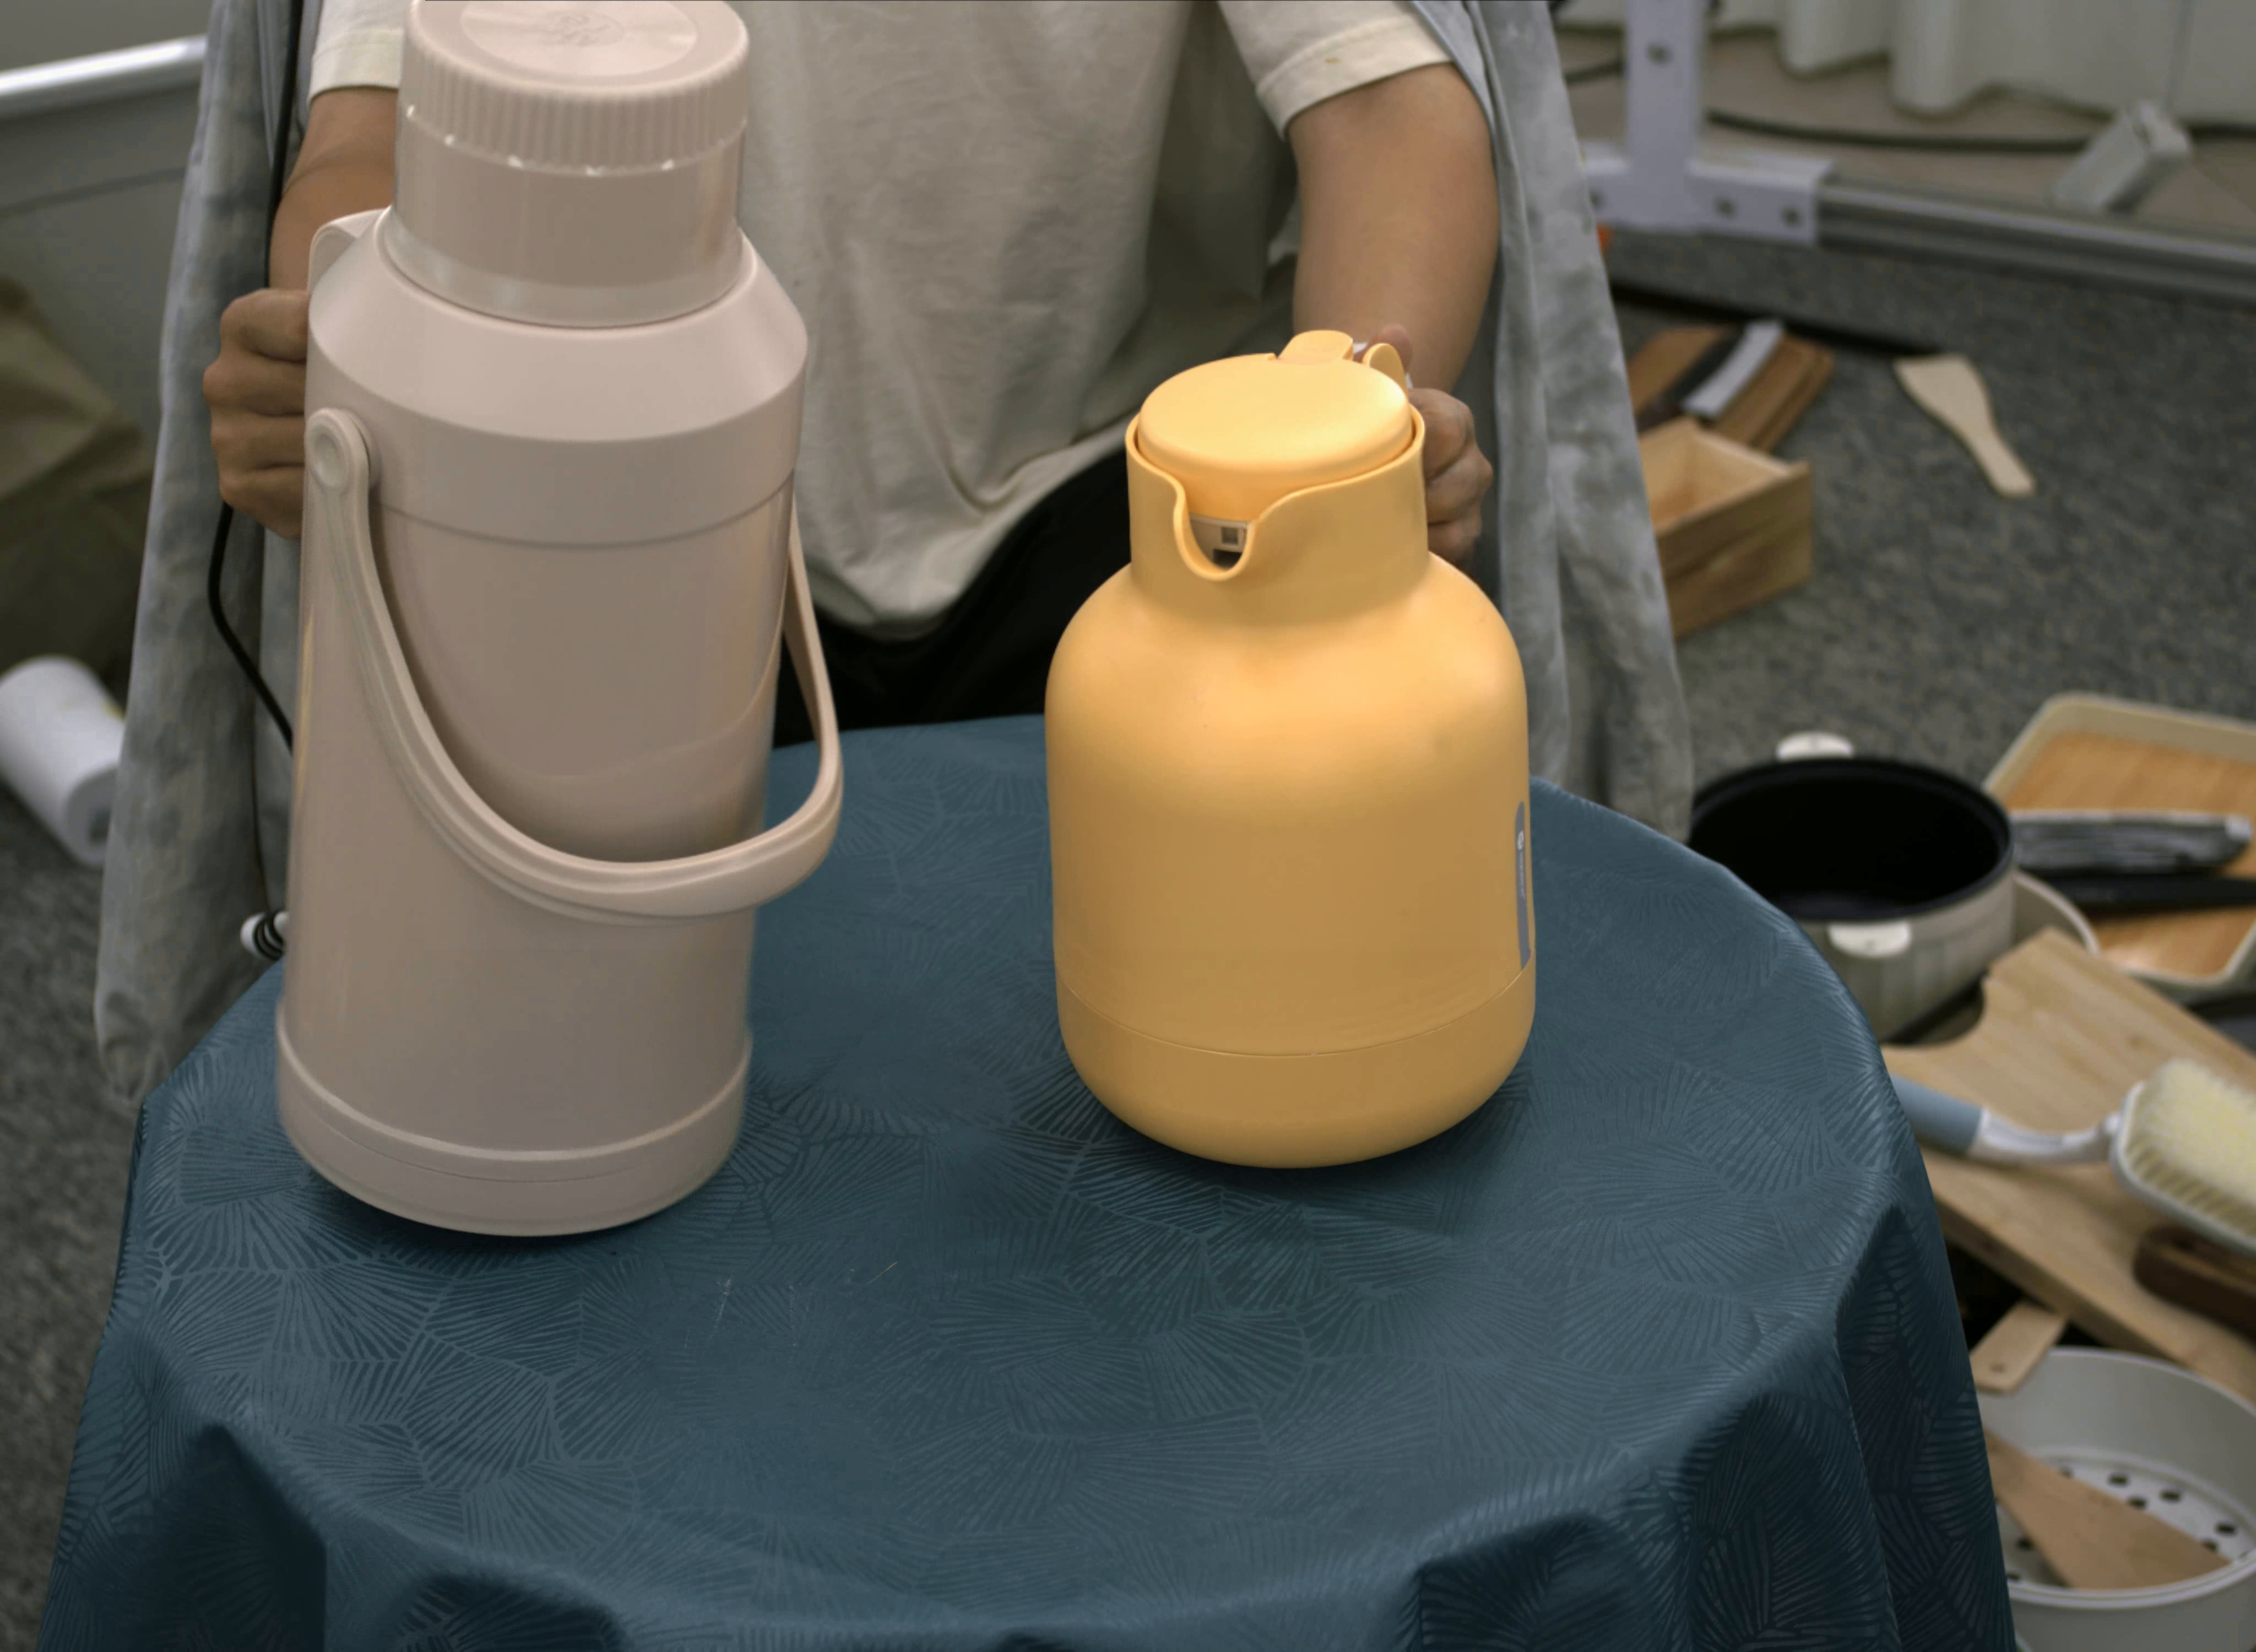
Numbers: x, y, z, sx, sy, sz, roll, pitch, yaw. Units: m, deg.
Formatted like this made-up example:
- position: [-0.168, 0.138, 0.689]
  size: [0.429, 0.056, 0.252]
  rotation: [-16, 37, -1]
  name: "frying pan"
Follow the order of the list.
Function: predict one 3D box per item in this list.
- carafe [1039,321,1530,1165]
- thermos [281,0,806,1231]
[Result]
- position: [0.059, -0.037, 1.880]
  size: [0.162, 0.257, 0.206]
  rotation: [8, 30, 17]
  name: "carafe"
- position: [-0.196, -0.083, 1.822]
  size: [0.177, 0.401, 0.207]
  rotation: [-21, 39, -38]
  name: "thermos"
